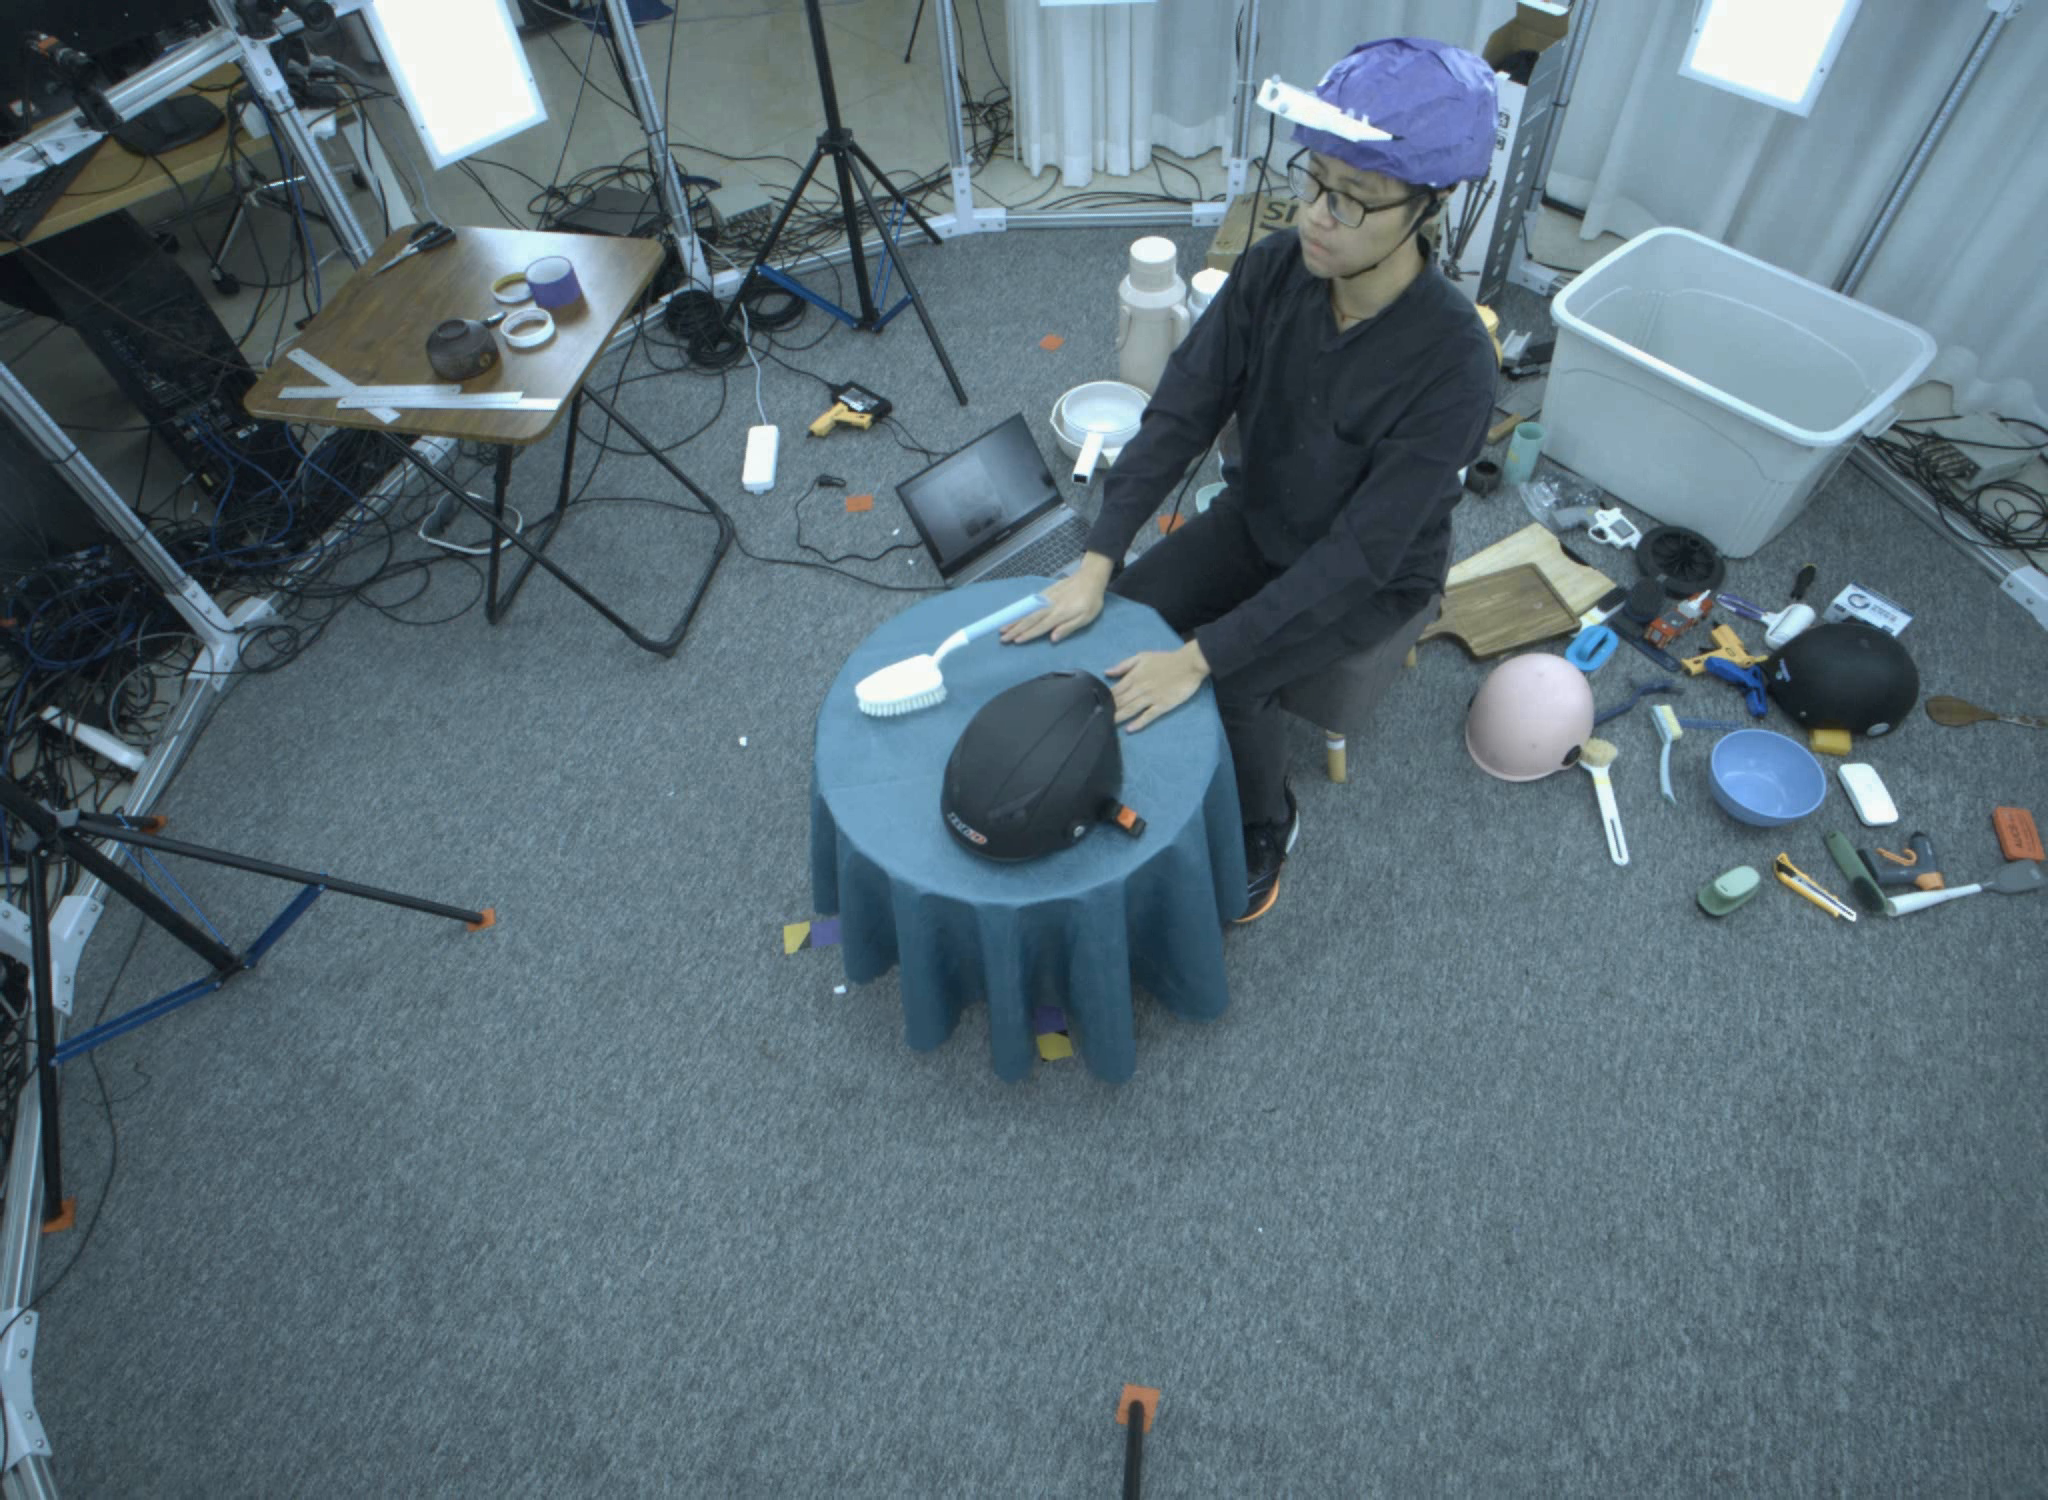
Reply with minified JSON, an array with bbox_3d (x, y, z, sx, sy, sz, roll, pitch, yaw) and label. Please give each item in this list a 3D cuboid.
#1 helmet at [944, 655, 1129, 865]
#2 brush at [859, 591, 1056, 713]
[{"bbox_3d":[0.013,0.006,1.680,0.242,0.174,0.278,37,67,26],"label":"helmet"},{"bbox_3d":[-0.092,-0.136,1.836,0.326,0.084,0.083,-26,93,-1],"label":"brush"}]
